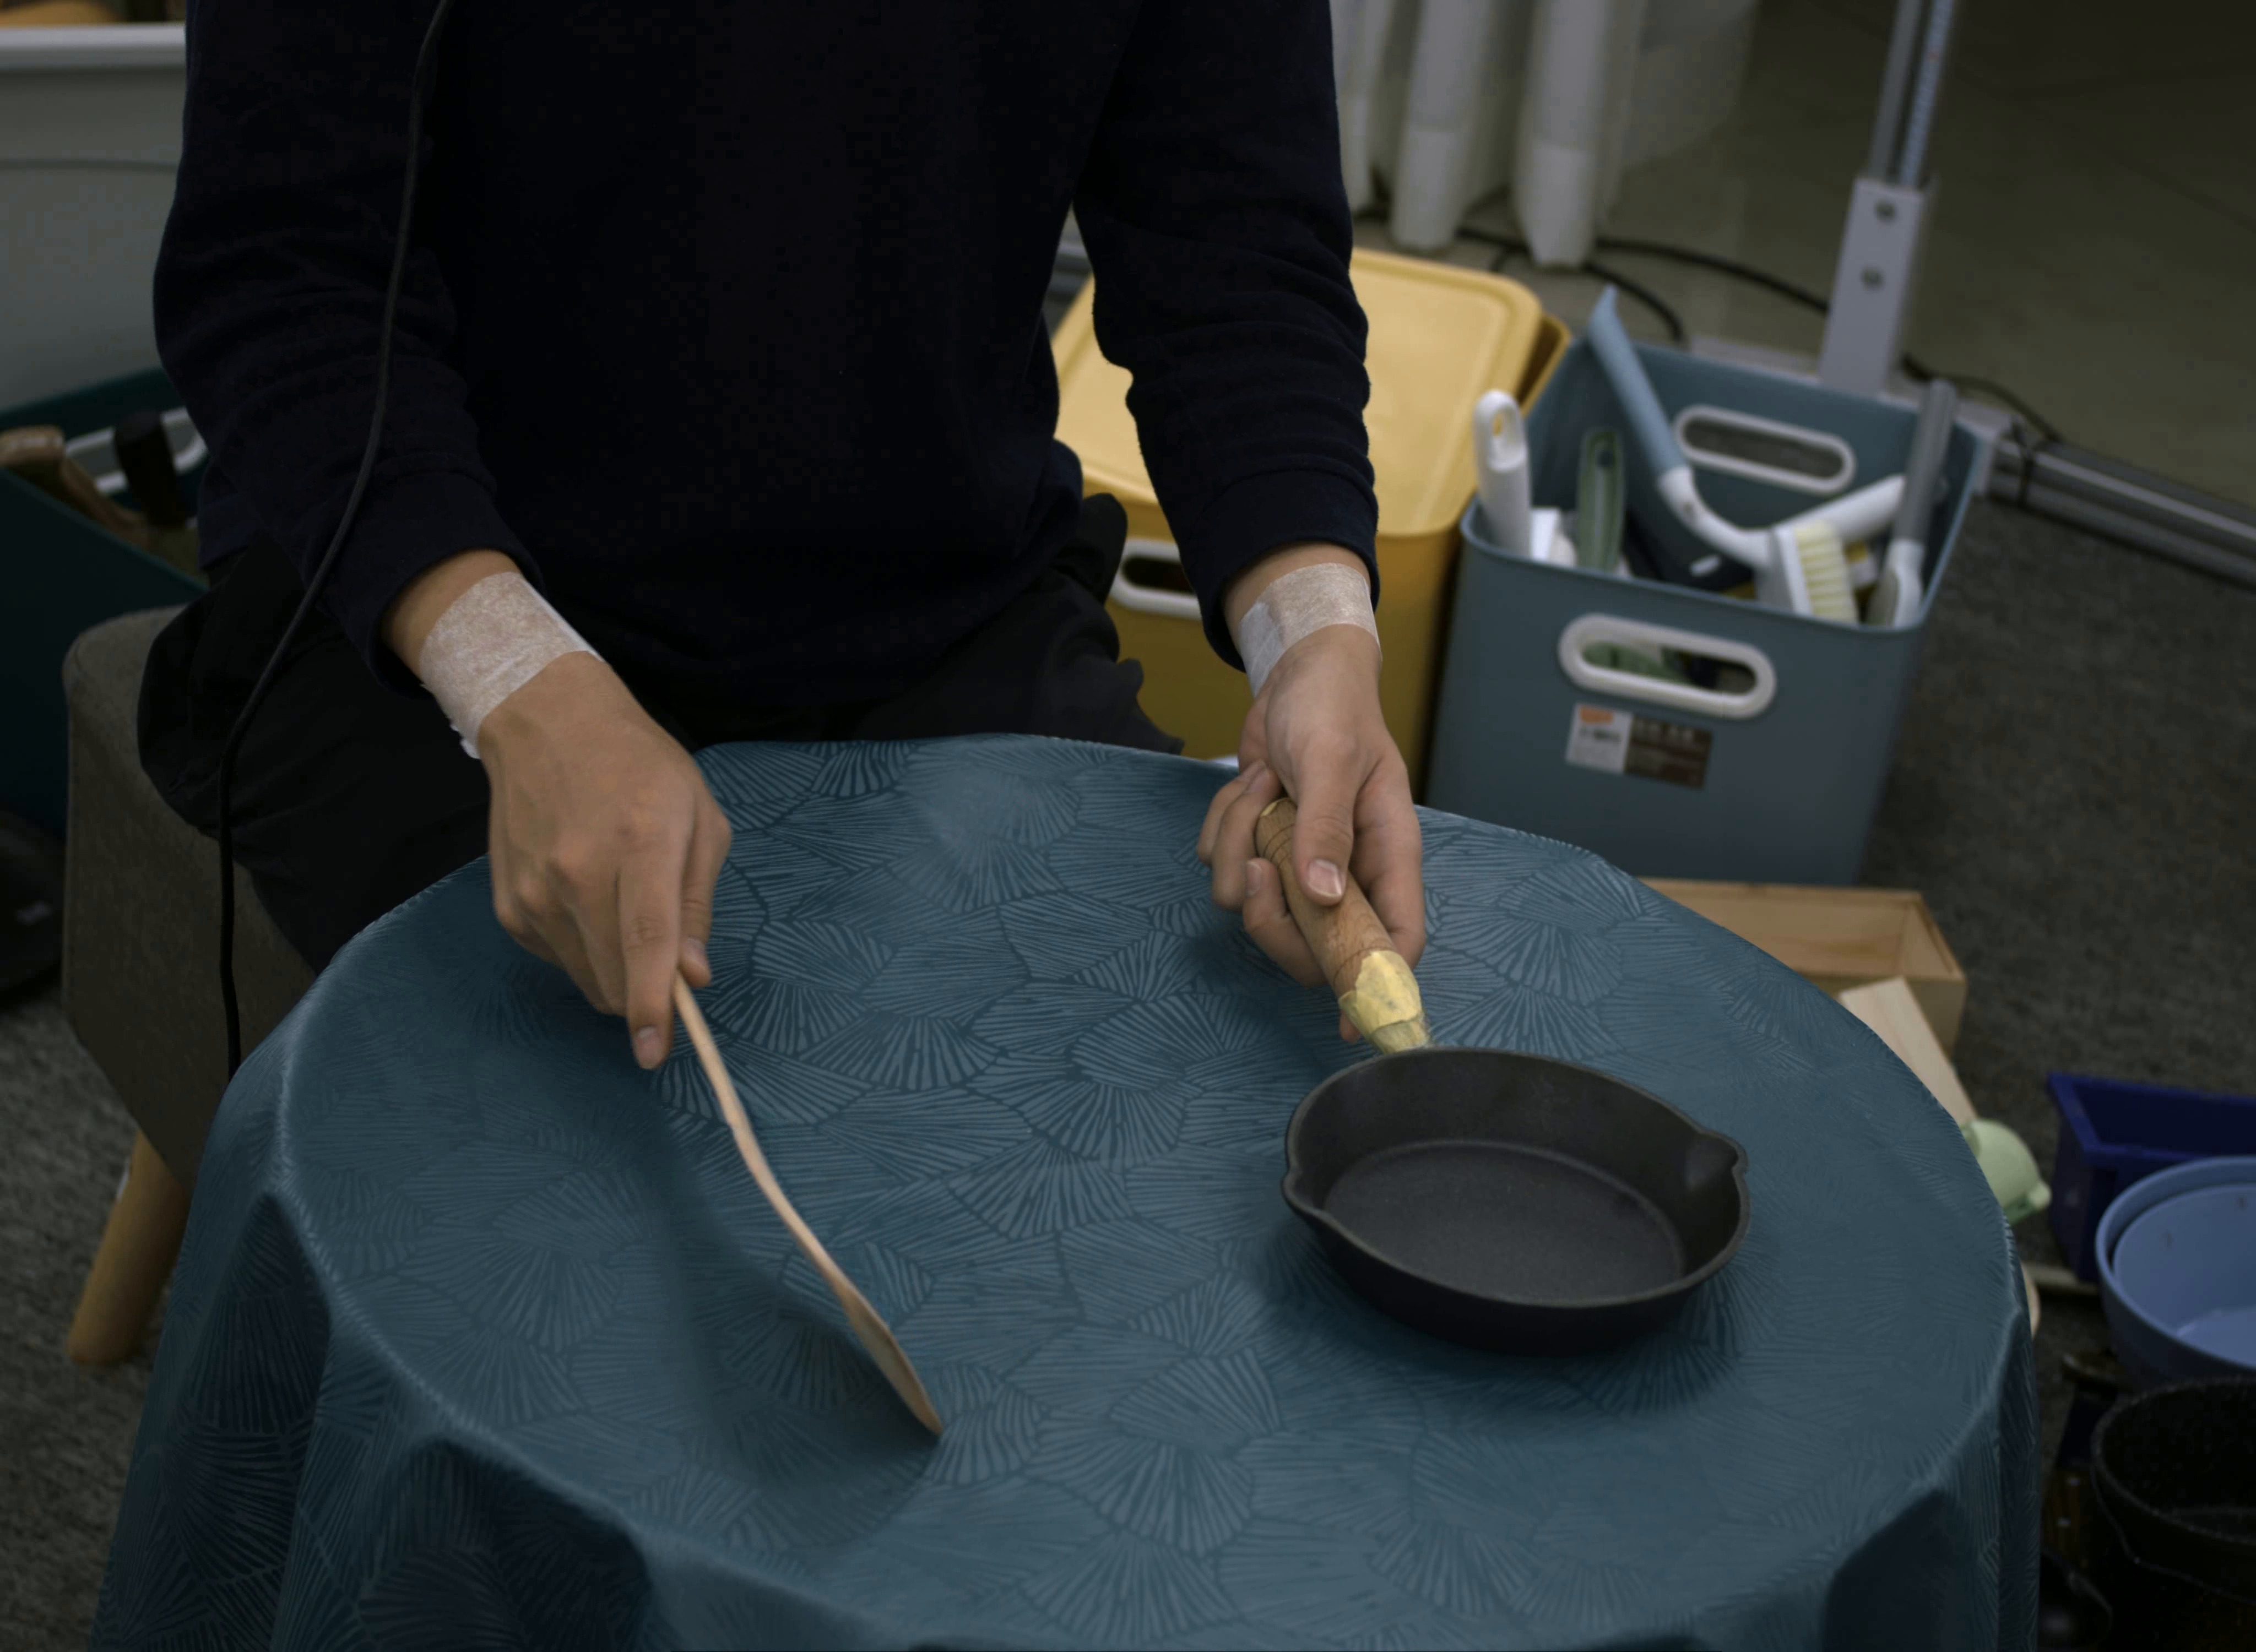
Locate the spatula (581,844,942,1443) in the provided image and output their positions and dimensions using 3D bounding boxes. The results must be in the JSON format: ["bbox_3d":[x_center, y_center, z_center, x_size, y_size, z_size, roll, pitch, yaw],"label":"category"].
[{"bbox_3d":[-0.127,0.093,1.750,0.016,0.079,0.330,-30,37,-4],"label":"spatula"}]

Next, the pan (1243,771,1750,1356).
[{"bbox_3d":[0.103,0.080,1.847,0.168,0.049,0.327,-3,32,-19],"label":"pan"}]
